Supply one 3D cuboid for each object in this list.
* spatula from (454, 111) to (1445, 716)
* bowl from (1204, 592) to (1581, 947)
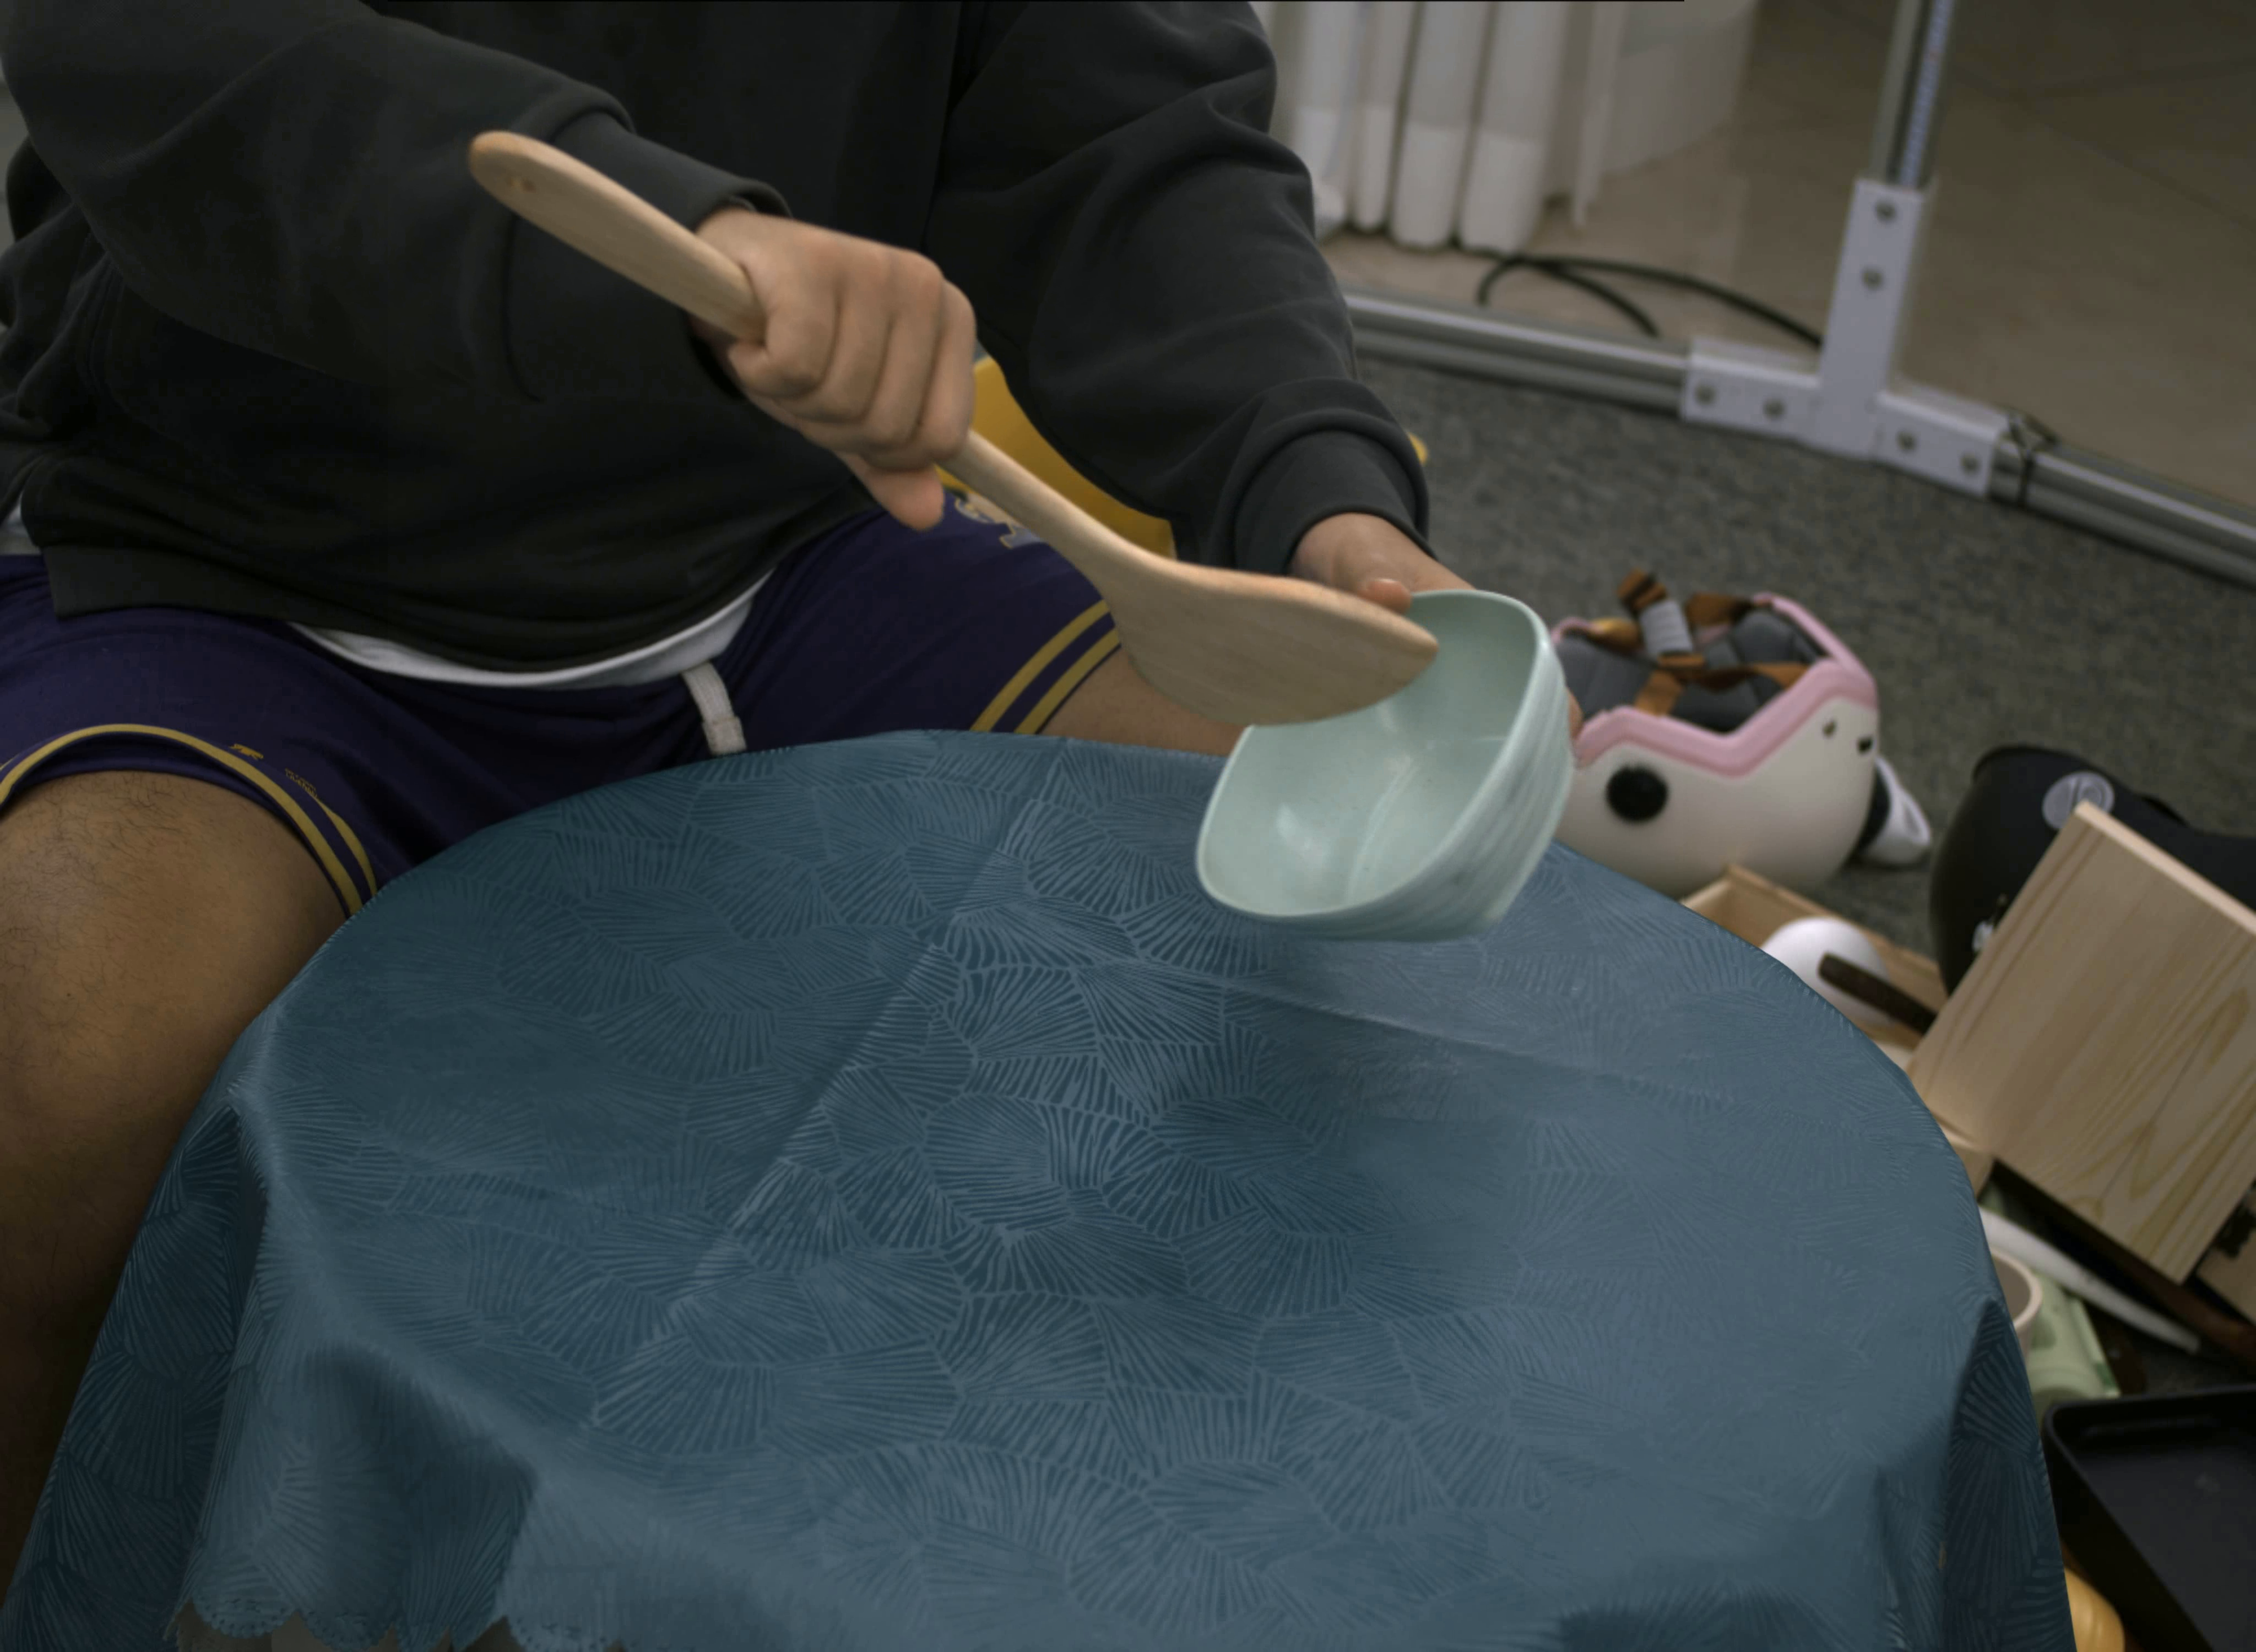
[{"bbox_3d":[-0.056,-0.129,1.698,0.387,0.096,0.018,32,50,-32],"label":"spatula"},{"bbox_3d":[0.103,-0.009,1.849,0.058,0.151,0.153,43,6,-34],"label":"bowl"}]
